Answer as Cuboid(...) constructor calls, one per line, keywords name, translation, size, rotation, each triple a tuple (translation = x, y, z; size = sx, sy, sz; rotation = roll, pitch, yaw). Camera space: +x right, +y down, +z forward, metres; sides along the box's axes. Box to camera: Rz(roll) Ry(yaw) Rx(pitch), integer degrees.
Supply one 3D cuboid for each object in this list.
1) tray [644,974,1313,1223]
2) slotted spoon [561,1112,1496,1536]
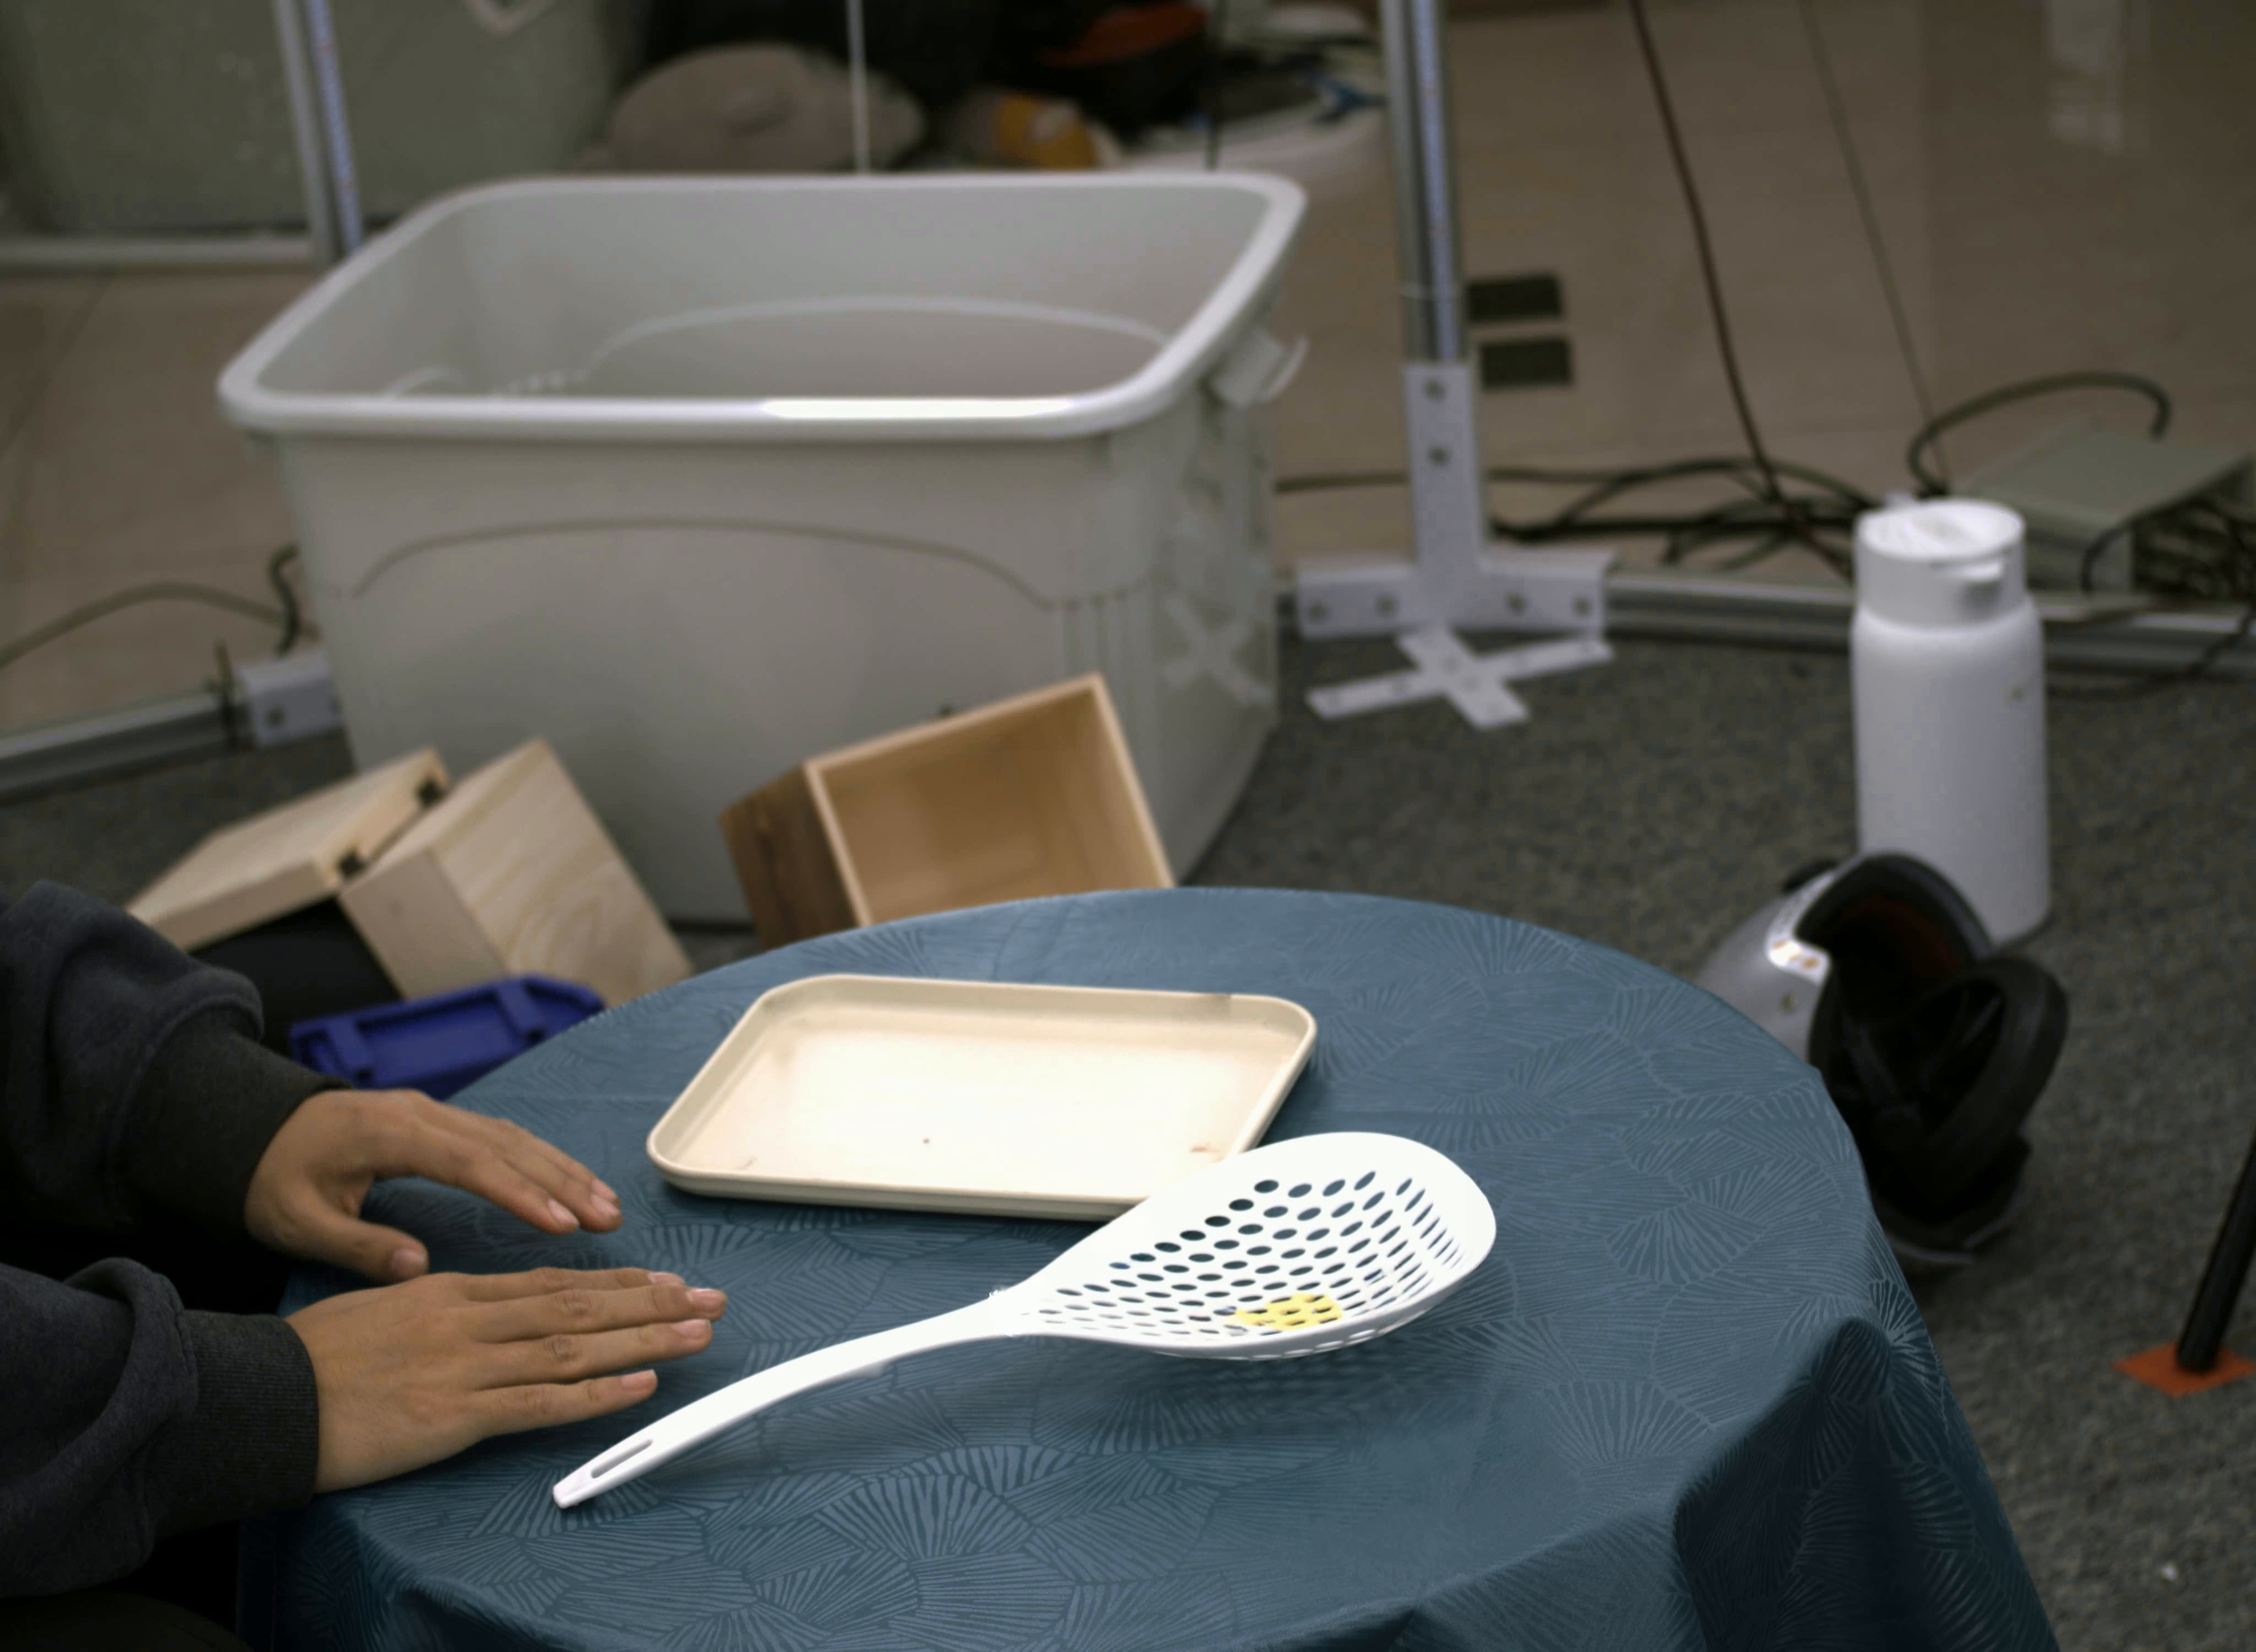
Cuboid(name="tray", translation=(-0.057, 0.106, 2.210), size=(0.239, 0.018, 0.169), rotation=(2, 27, 19))
Cuboid(name="slotted spoon", translation=(-0.037, 0.183, 2.014), size=(0.347, 0.051, 0.135), rotation=(-13, 29, -13))
